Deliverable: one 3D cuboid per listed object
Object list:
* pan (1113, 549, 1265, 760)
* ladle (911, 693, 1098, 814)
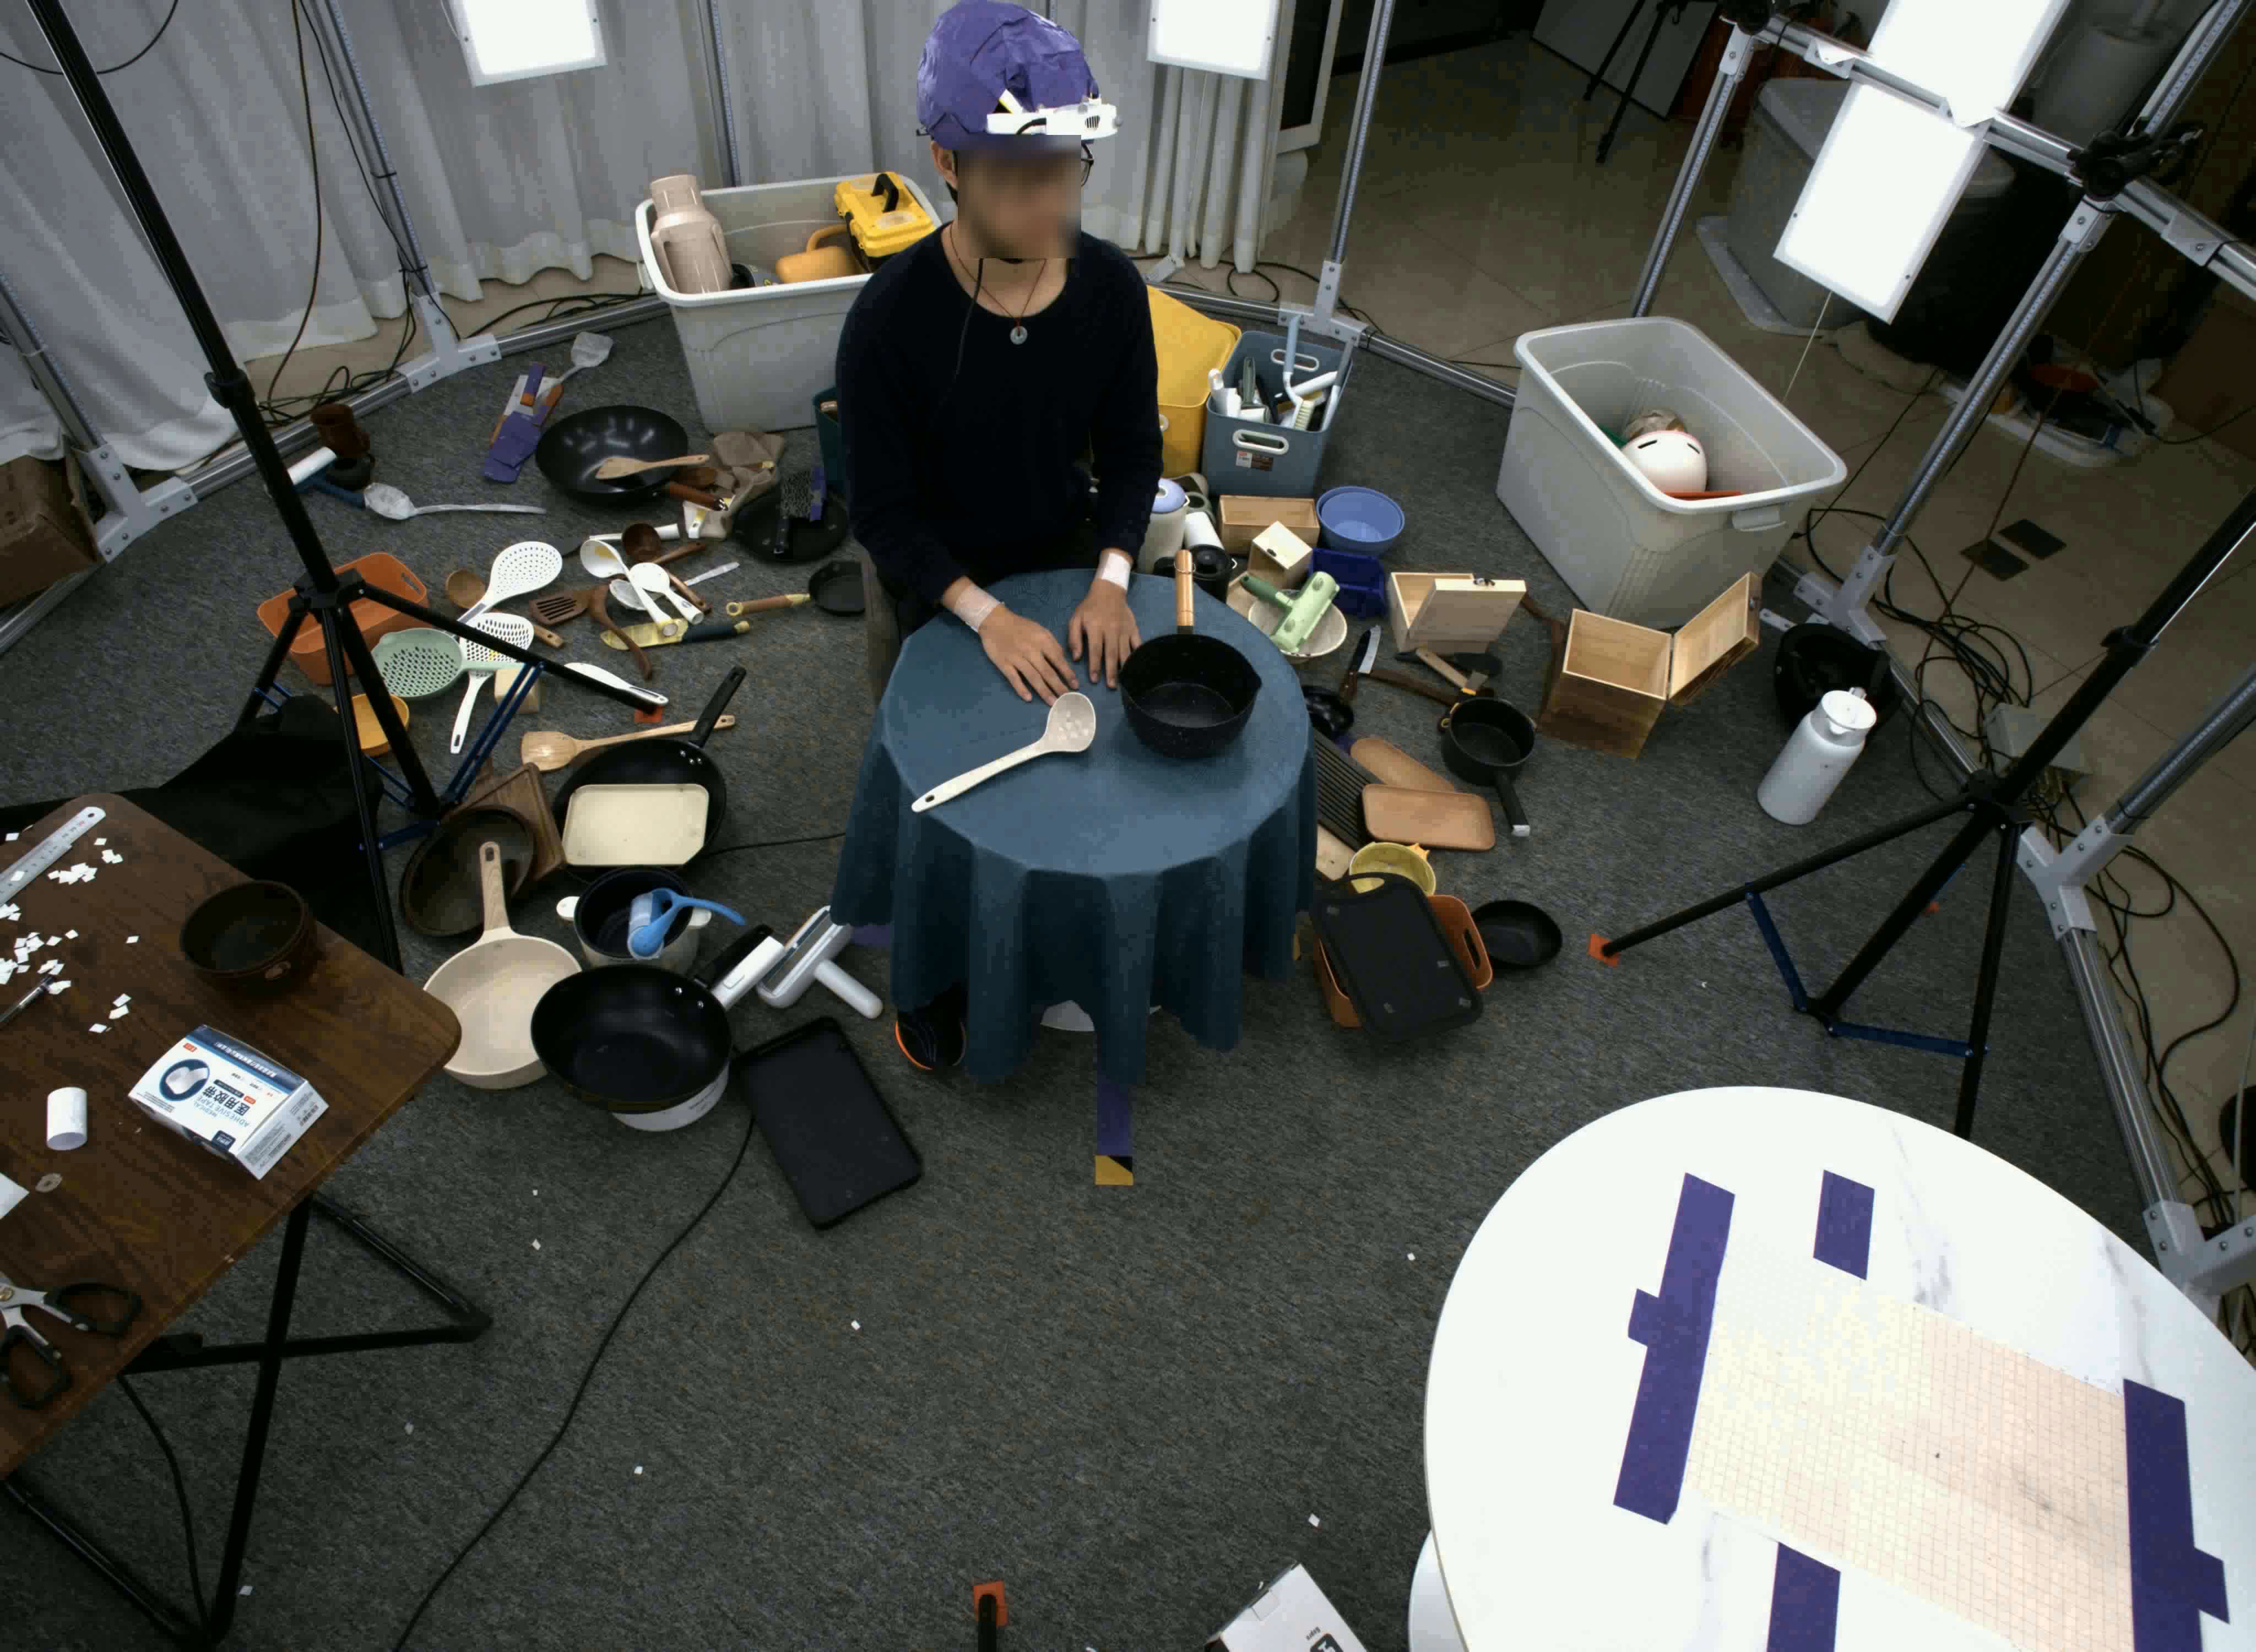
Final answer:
[{"bbox_3d":[0.080,-0.243,1.815,0.207,0.105,0.351,0,50,-3],"label":"pan"},{"bbox_3d":[-0.164,-0.094,1.698,0.276,0.068,0.091,-26,62,-23],"label":"ladle"}]
